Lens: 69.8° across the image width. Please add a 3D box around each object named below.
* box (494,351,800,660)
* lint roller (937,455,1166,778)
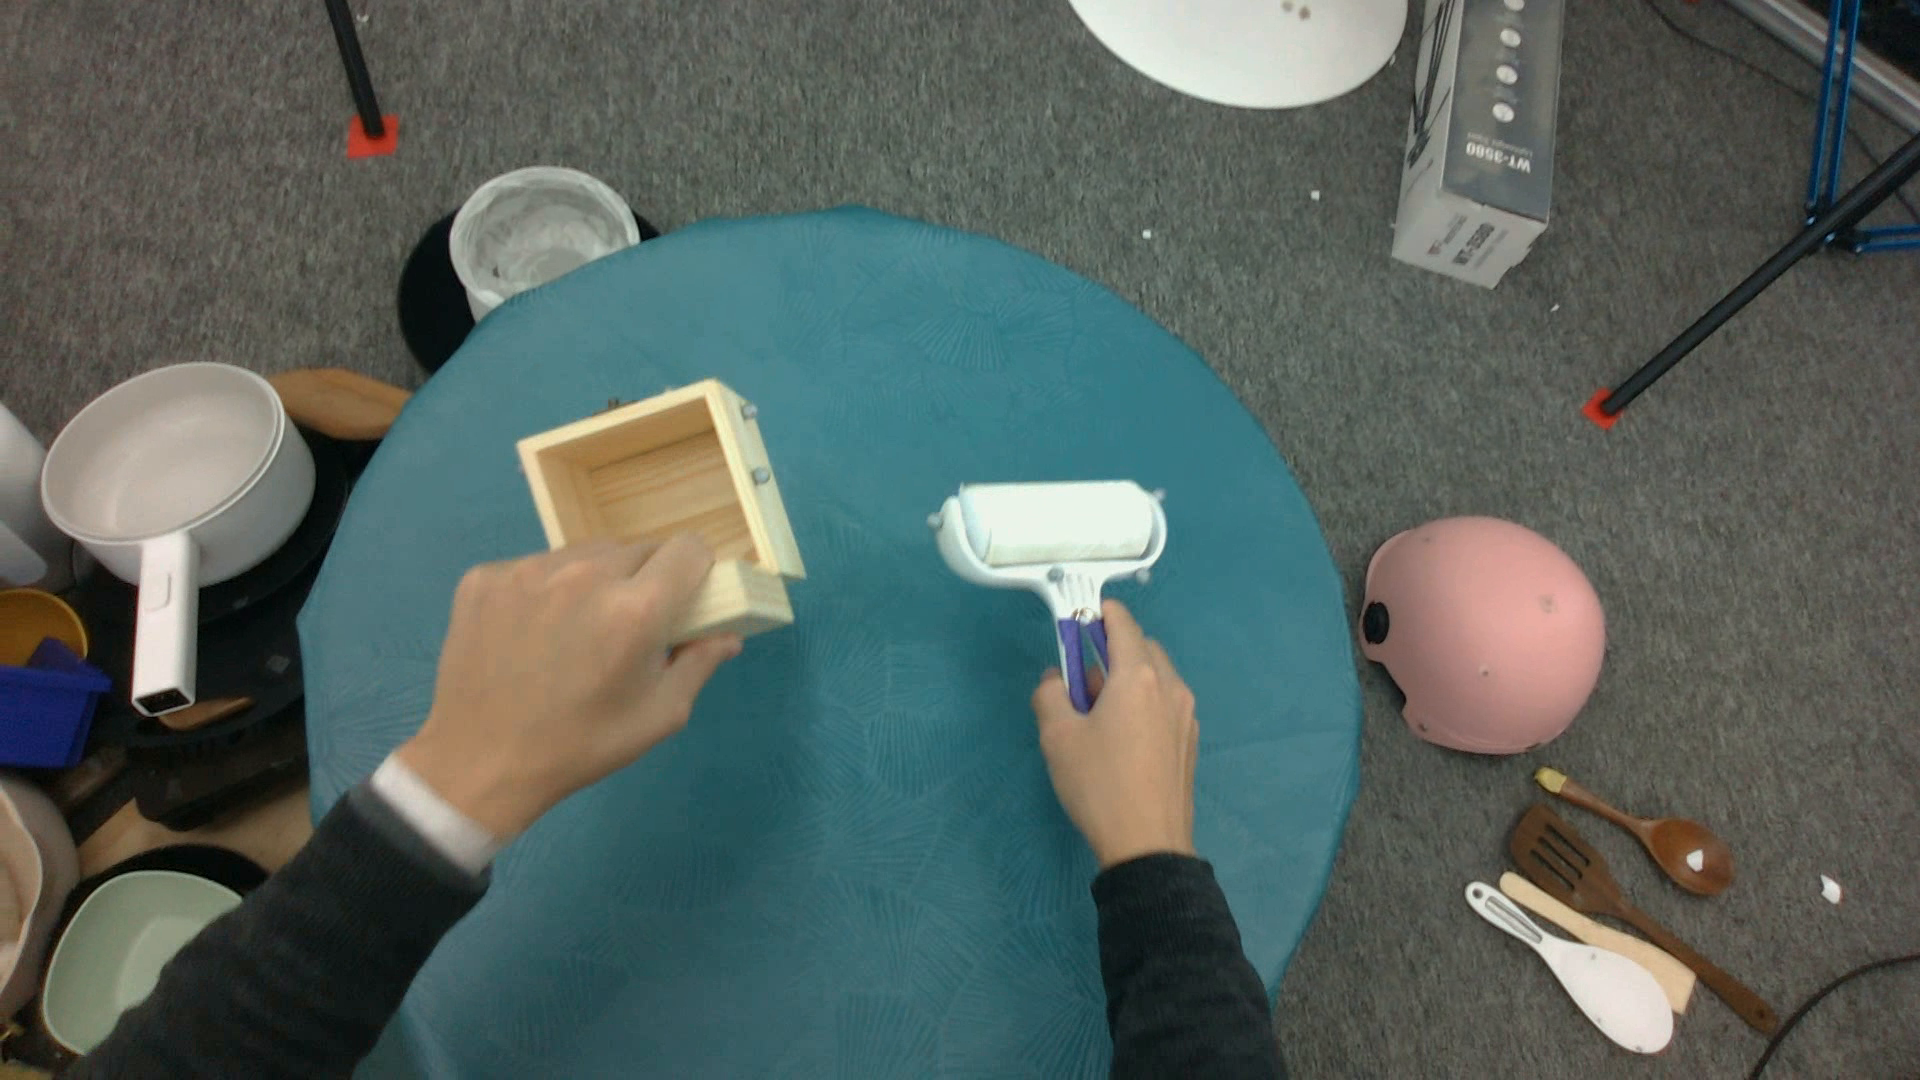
[{"bbox_3d":[-0.149,-0.021,0.647,0.102,0.184,0.134,-19,85,1],"label":"box"},{"bbox_3d":[0.065,0.034,0.726,0.133,0.050,0.181,0,58,-25],"label":"lint roller"}]
